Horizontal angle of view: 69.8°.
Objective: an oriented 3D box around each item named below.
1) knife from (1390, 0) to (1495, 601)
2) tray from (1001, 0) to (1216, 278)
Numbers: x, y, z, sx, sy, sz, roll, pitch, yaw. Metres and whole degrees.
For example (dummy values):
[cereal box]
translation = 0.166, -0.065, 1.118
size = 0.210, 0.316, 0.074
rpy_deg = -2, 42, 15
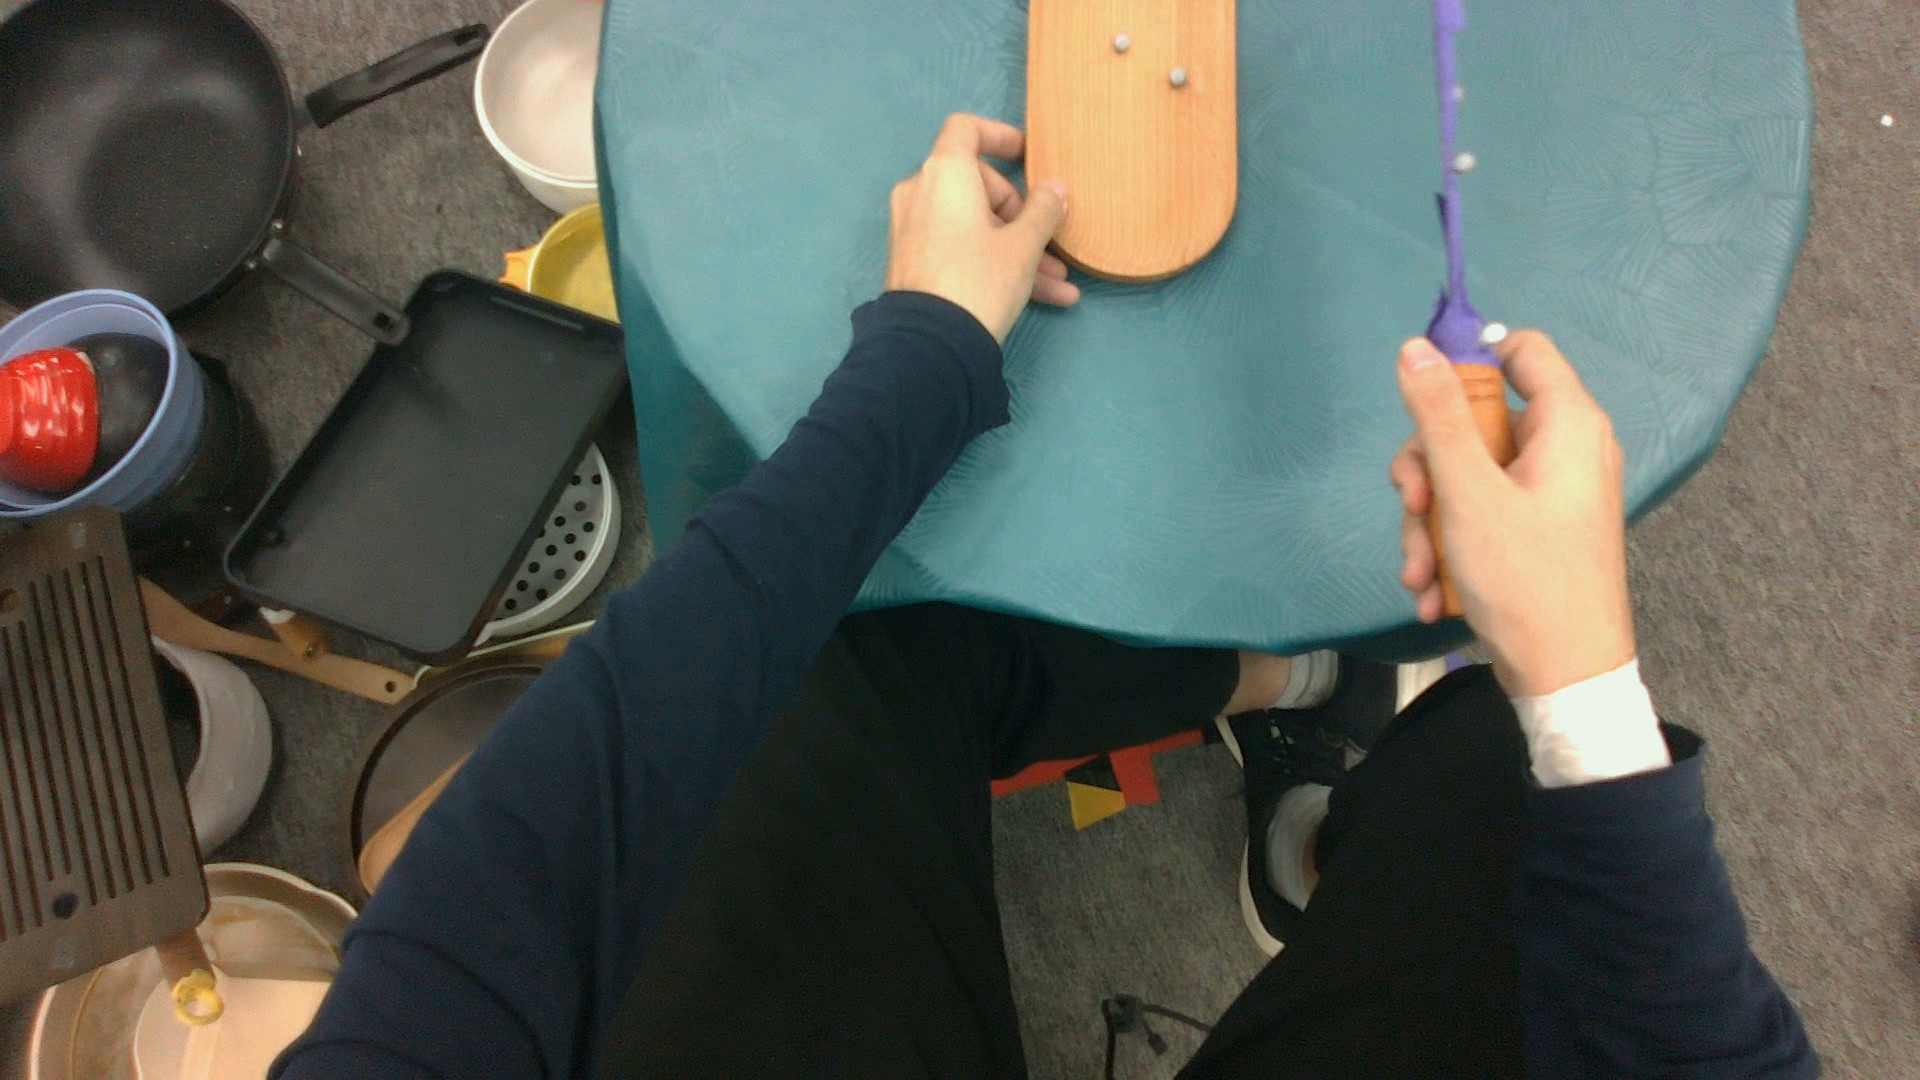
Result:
[knife]
translation = 0.184, -0.134, 0.541
size = 0.032, 0.104, 0.315
rpy_deg = -4, 86, 20
[tray]
translation = 0.071, -0.235, 0.673
size = 0.102, 0.020, 0.231
rpy_deg = 0, 77, -3
